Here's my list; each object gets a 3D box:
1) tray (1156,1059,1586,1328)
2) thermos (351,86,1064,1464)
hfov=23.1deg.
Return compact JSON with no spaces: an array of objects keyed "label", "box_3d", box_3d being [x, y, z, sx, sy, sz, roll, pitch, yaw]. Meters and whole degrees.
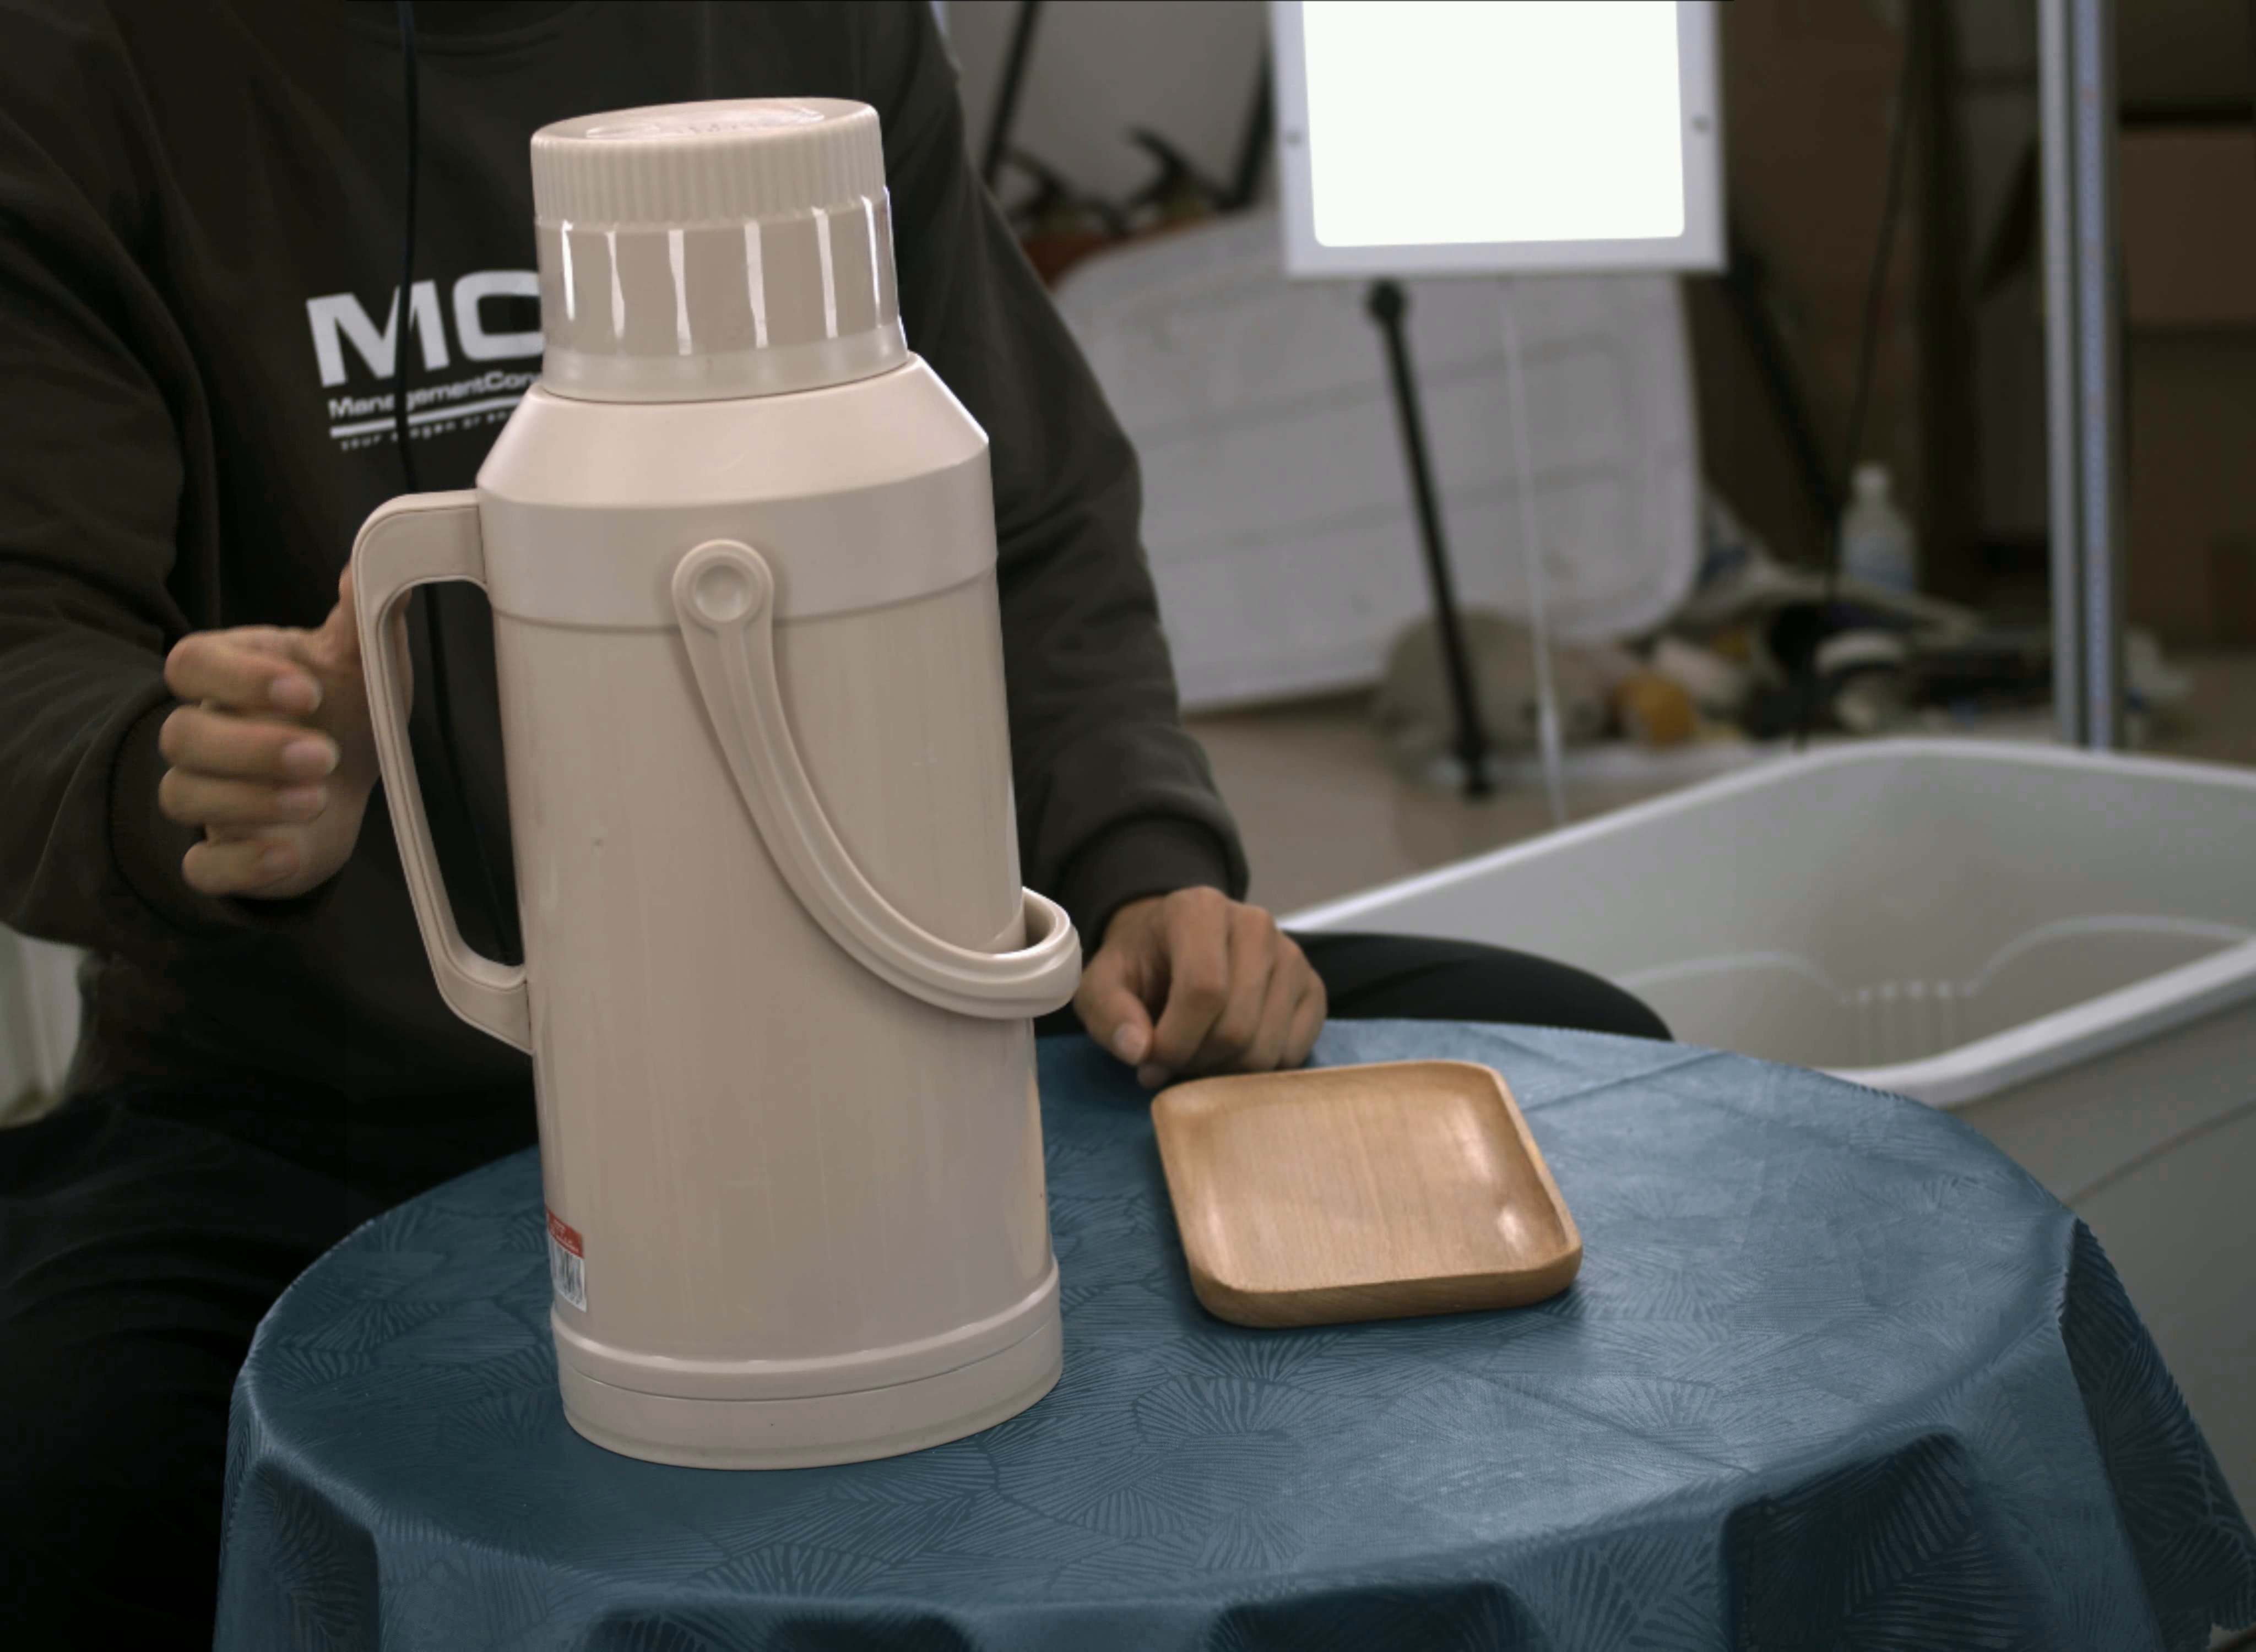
[{"label":"tray","box_3d":[0.079,0.122,1.858,0.130,0.023,0.250,-3,12,-1]},{"label":"thermos","box_3d":[-0.127,-0.017,1.691,0.206,0.408,0.175,-4,15,1]}]
